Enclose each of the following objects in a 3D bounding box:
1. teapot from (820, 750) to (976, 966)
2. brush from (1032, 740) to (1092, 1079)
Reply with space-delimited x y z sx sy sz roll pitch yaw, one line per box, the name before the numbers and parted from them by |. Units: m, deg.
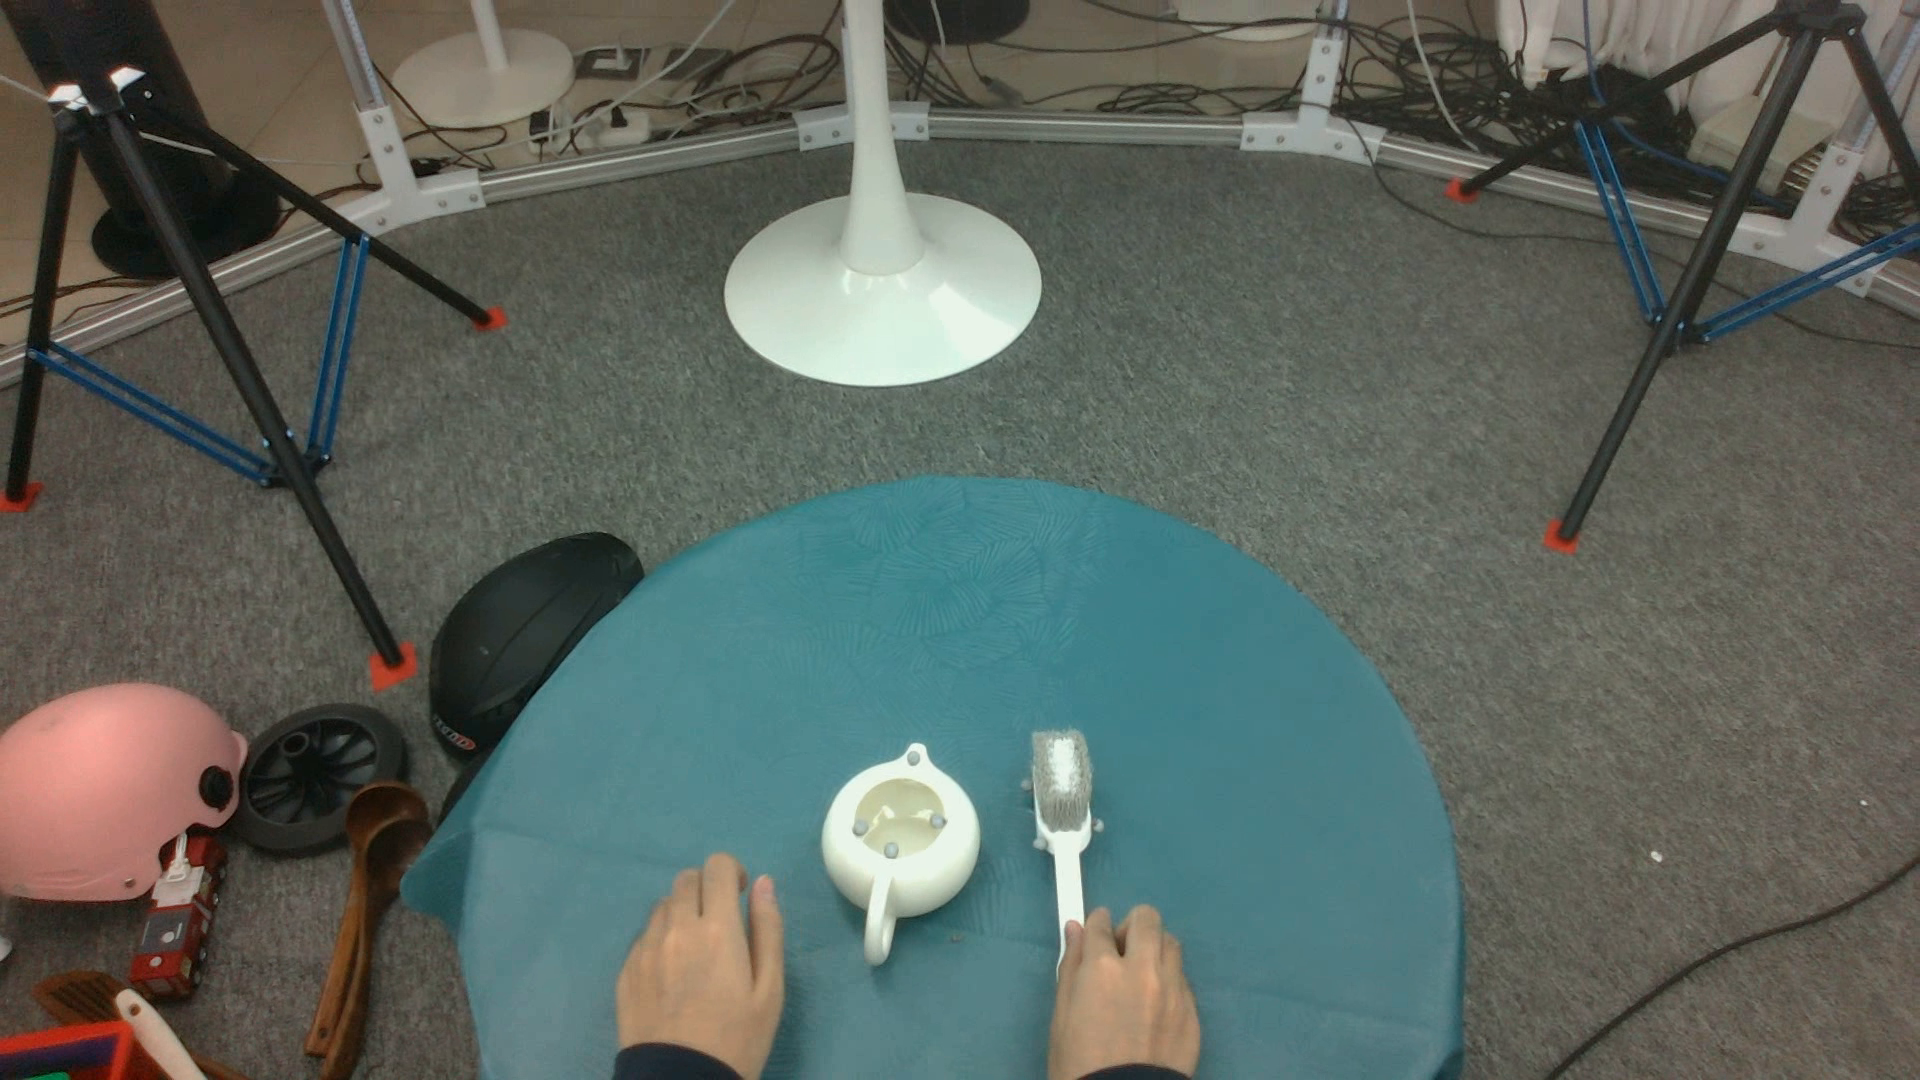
teapot | -0.038 0.189 0.816 0.093 0.056 0.128 8 49 1
brush | 0.060 0.220 0.790 0.034 0.050 0.245 3 47 -1
